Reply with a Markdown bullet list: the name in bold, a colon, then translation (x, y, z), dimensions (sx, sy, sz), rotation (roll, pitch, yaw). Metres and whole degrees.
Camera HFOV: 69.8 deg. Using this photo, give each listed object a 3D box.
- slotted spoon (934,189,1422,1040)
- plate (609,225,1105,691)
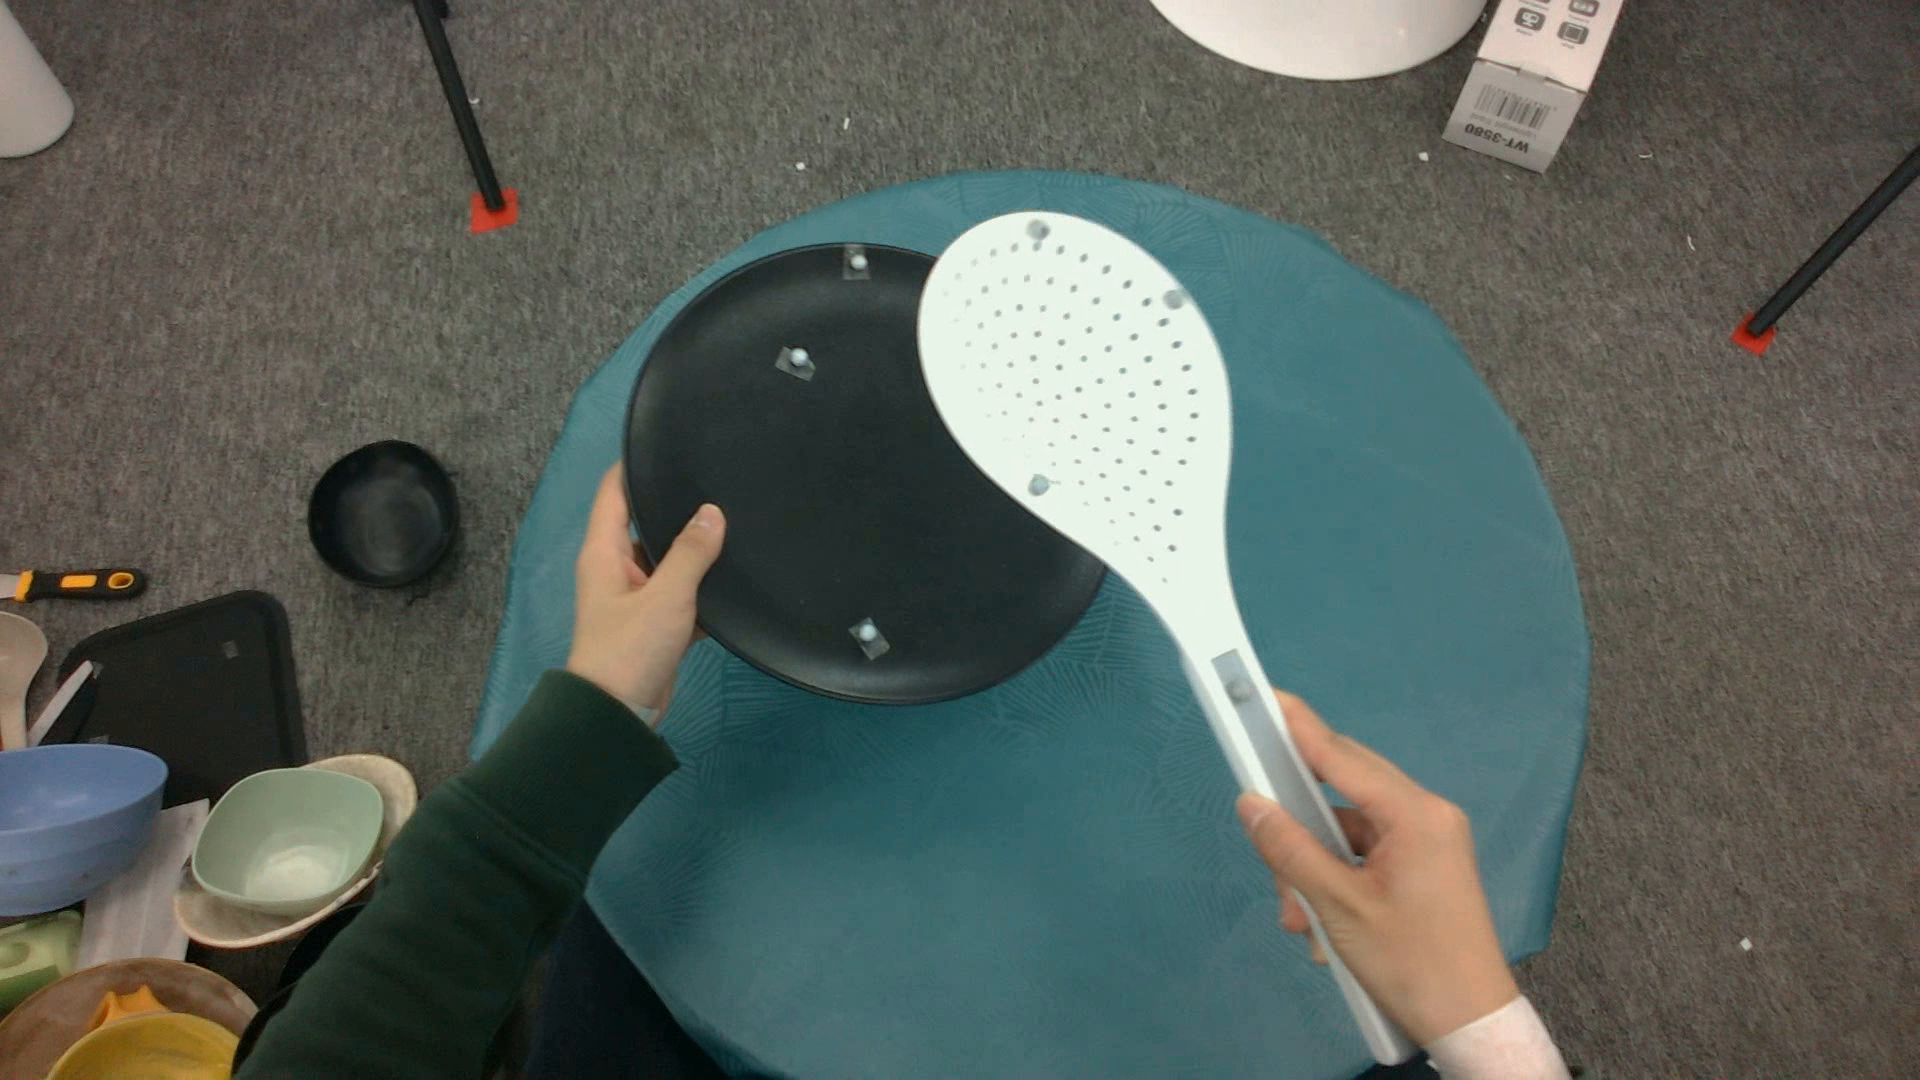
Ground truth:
- **slotted spoon**: translation (0.094, 0.023, 0.536), dimensions (0.136, 0.045, 0.350), rotation (-20, 77, -27)
- **plate**: translation (-0.044, -0.043, 0.663), dimensions (0.244, 0.023, 0.245), rotation (7, 66, -16)
